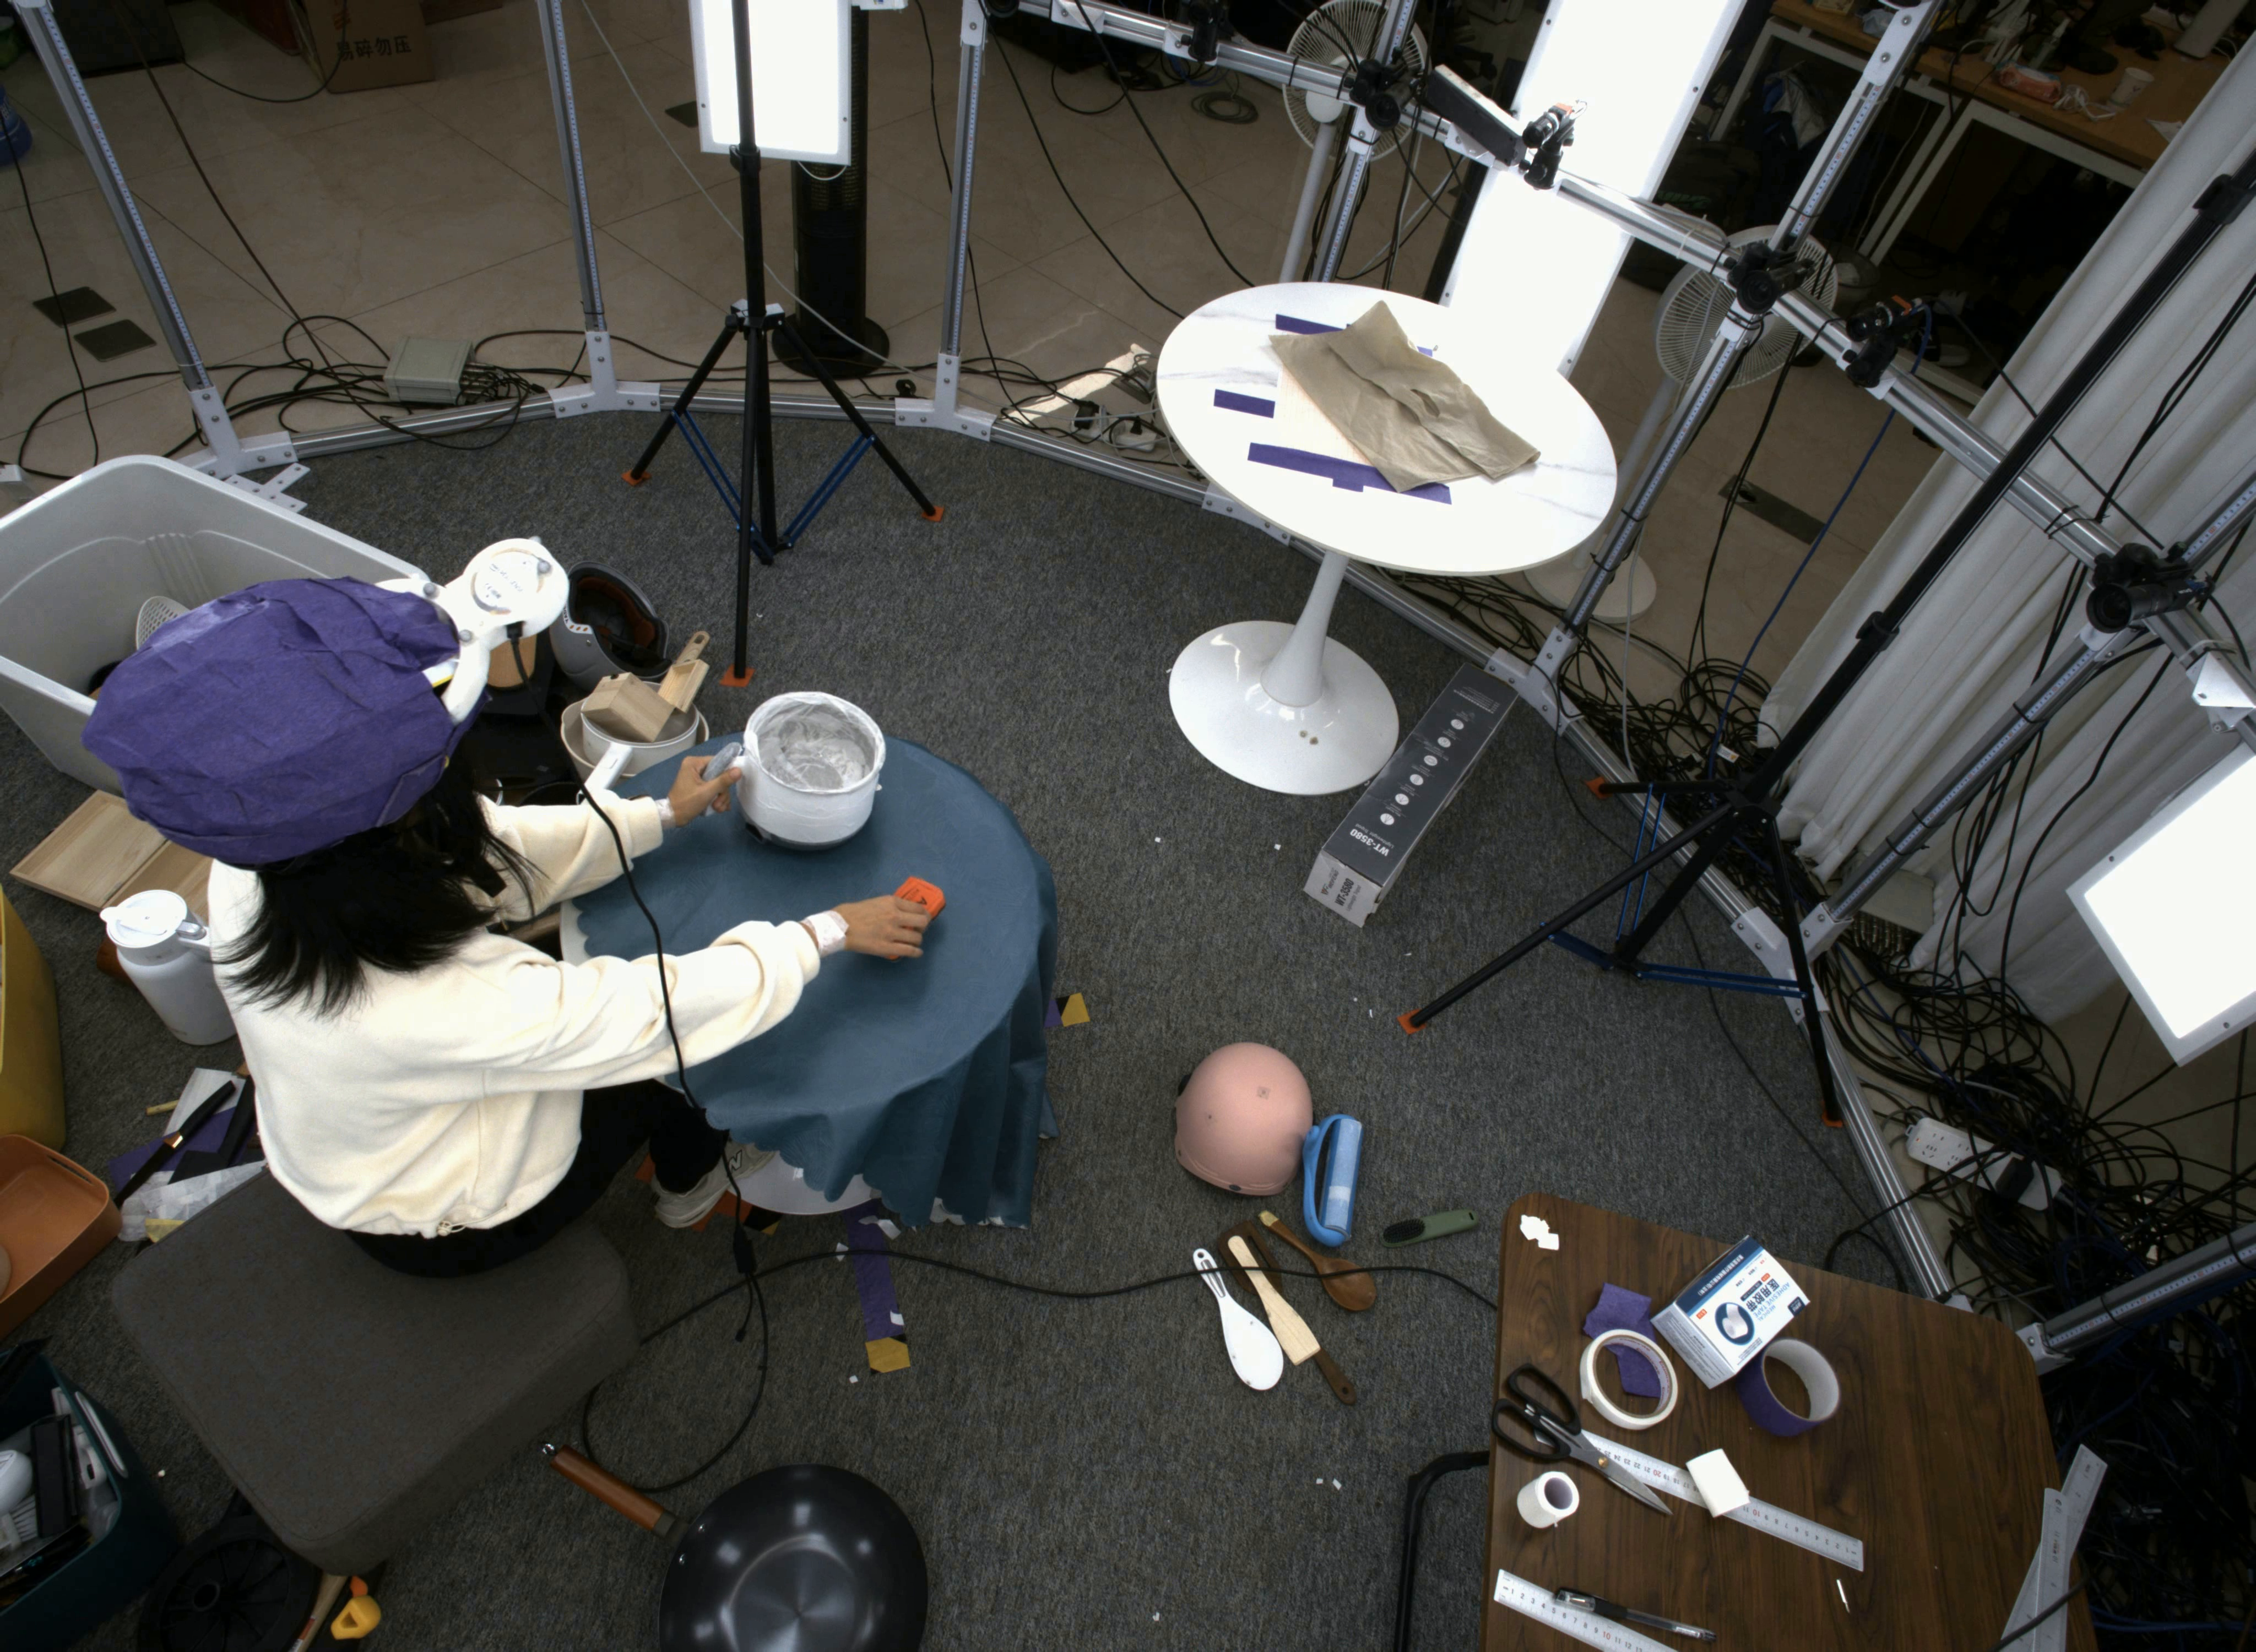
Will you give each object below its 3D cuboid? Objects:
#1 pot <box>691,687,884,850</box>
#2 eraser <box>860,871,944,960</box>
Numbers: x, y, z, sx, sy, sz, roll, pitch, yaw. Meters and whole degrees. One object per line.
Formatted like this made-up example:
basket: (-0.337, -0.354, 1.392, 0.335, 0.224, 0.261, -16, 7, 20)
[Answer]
pot: (-0.438, -0.067, 1.658, 0.236, 0.139, 0.174, -8, 53, -32)
eraser: (-0.282, 0.110, 1.625, 0.057, 0.023, 0.108, 28, 62, 17)
